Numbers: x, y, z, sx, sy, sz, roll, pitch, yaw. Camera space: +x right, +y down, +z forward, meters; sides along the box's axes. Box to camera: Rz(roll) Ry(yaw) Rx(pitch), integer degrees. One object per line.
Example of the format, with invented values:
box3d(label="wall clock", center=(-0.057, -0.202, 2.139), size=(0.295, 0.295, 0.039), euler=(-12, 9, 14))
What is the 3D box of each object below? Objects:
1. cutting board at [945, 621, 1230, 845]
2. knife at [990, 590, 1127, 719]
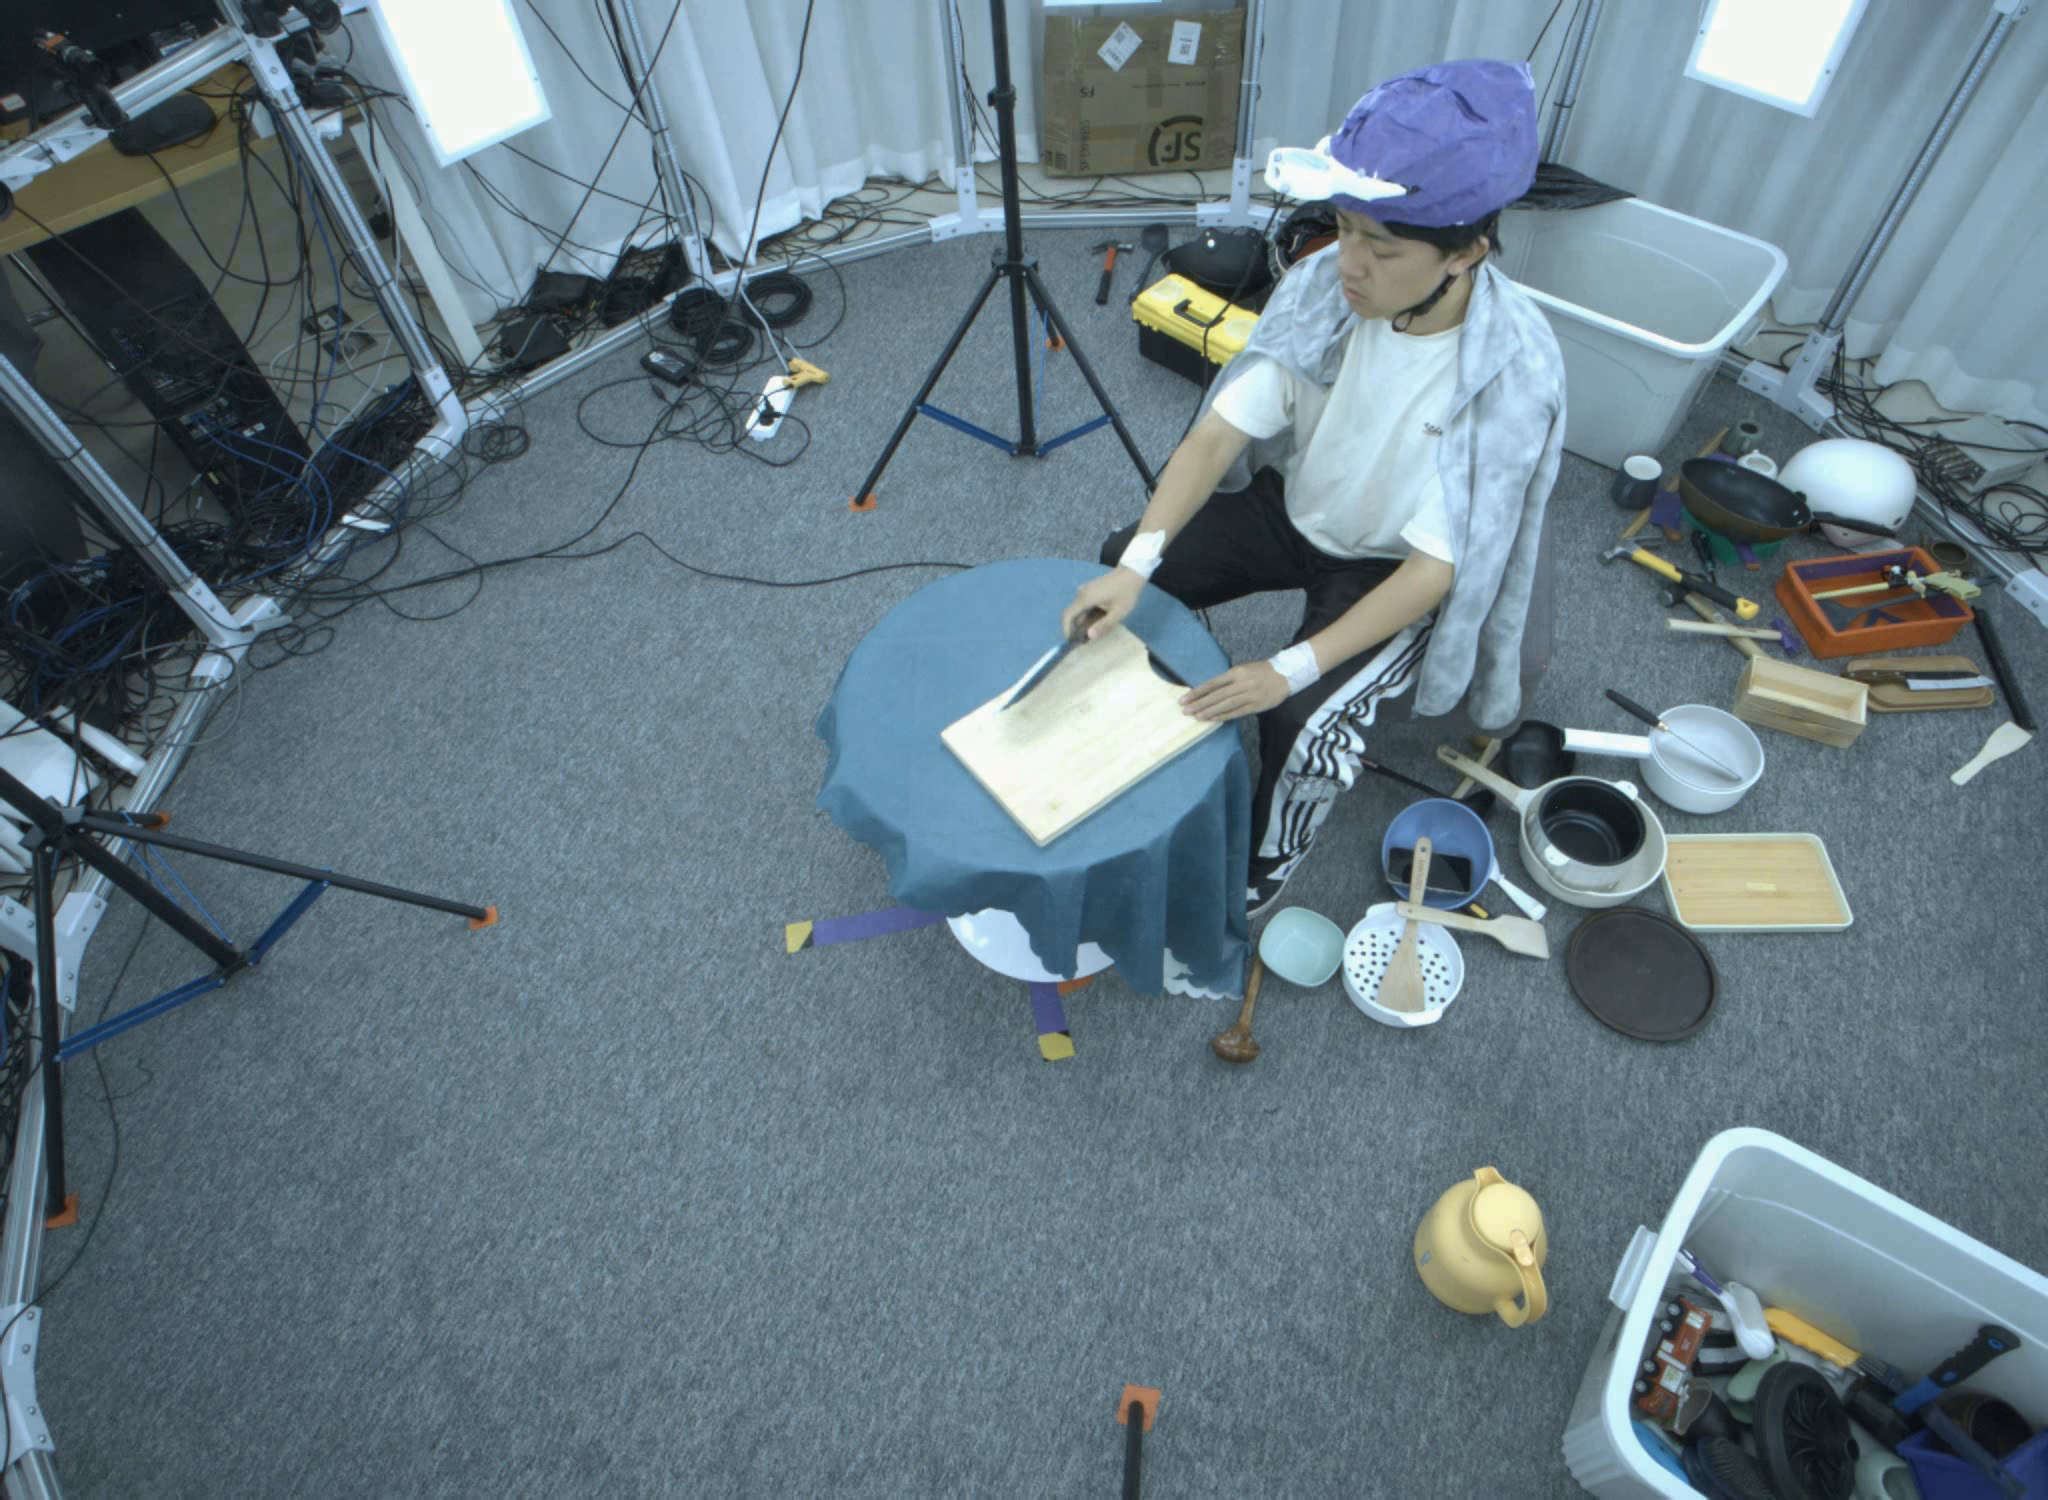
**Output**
box3d(label="cutting board", center=(0.090, -0.035, 1.801), size=(0.351, 0.024, 0.246), euler=(-34, 60, -20))
box3d(label="knife", center=(0.052, -0.141, 1.809), size=(0.067, 0.024, 0.301), euler=(-9, 32, 53))
